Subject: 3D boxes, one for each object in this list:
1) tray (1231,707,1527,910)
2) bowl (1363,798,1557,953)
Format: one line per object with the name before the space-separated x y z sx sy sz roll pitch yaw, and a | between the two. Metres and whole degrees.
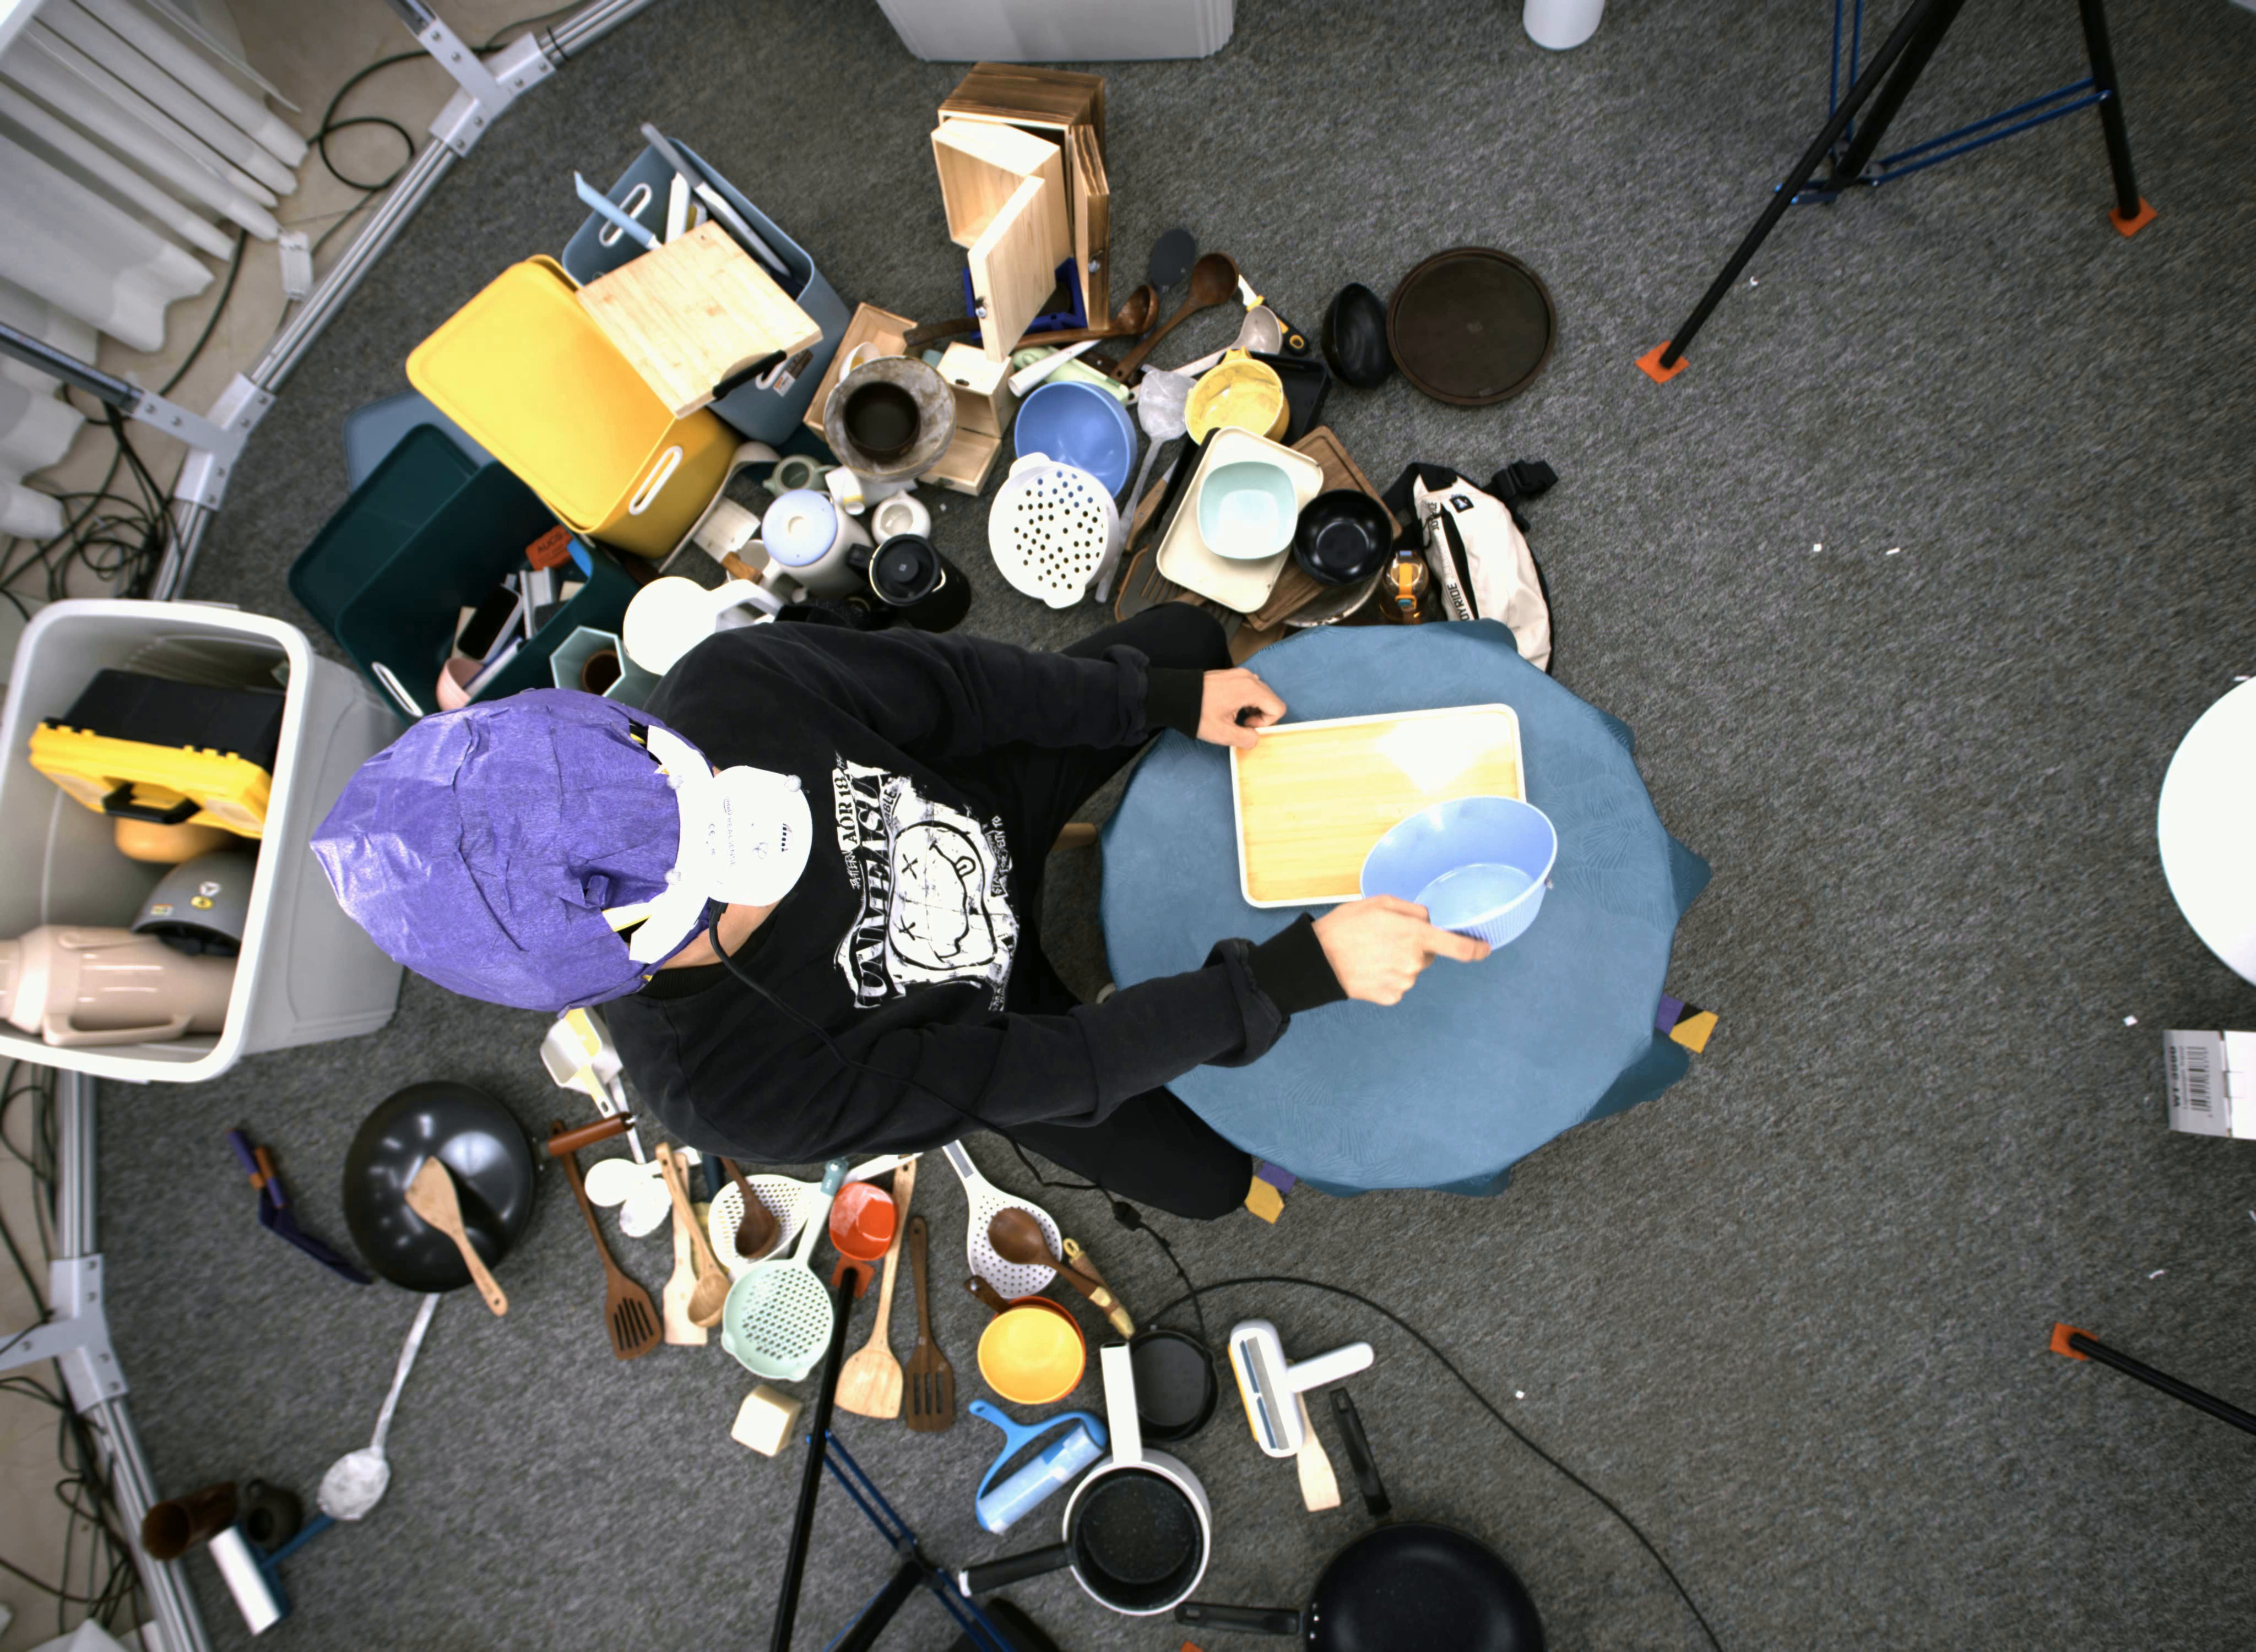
tray | 0.265 -0.018 1.452 0.301 0.027 0.191 -5 89 10
bowl | 0.305 0.051 1.235 0.177 0.172 0.071 -24 120 7
